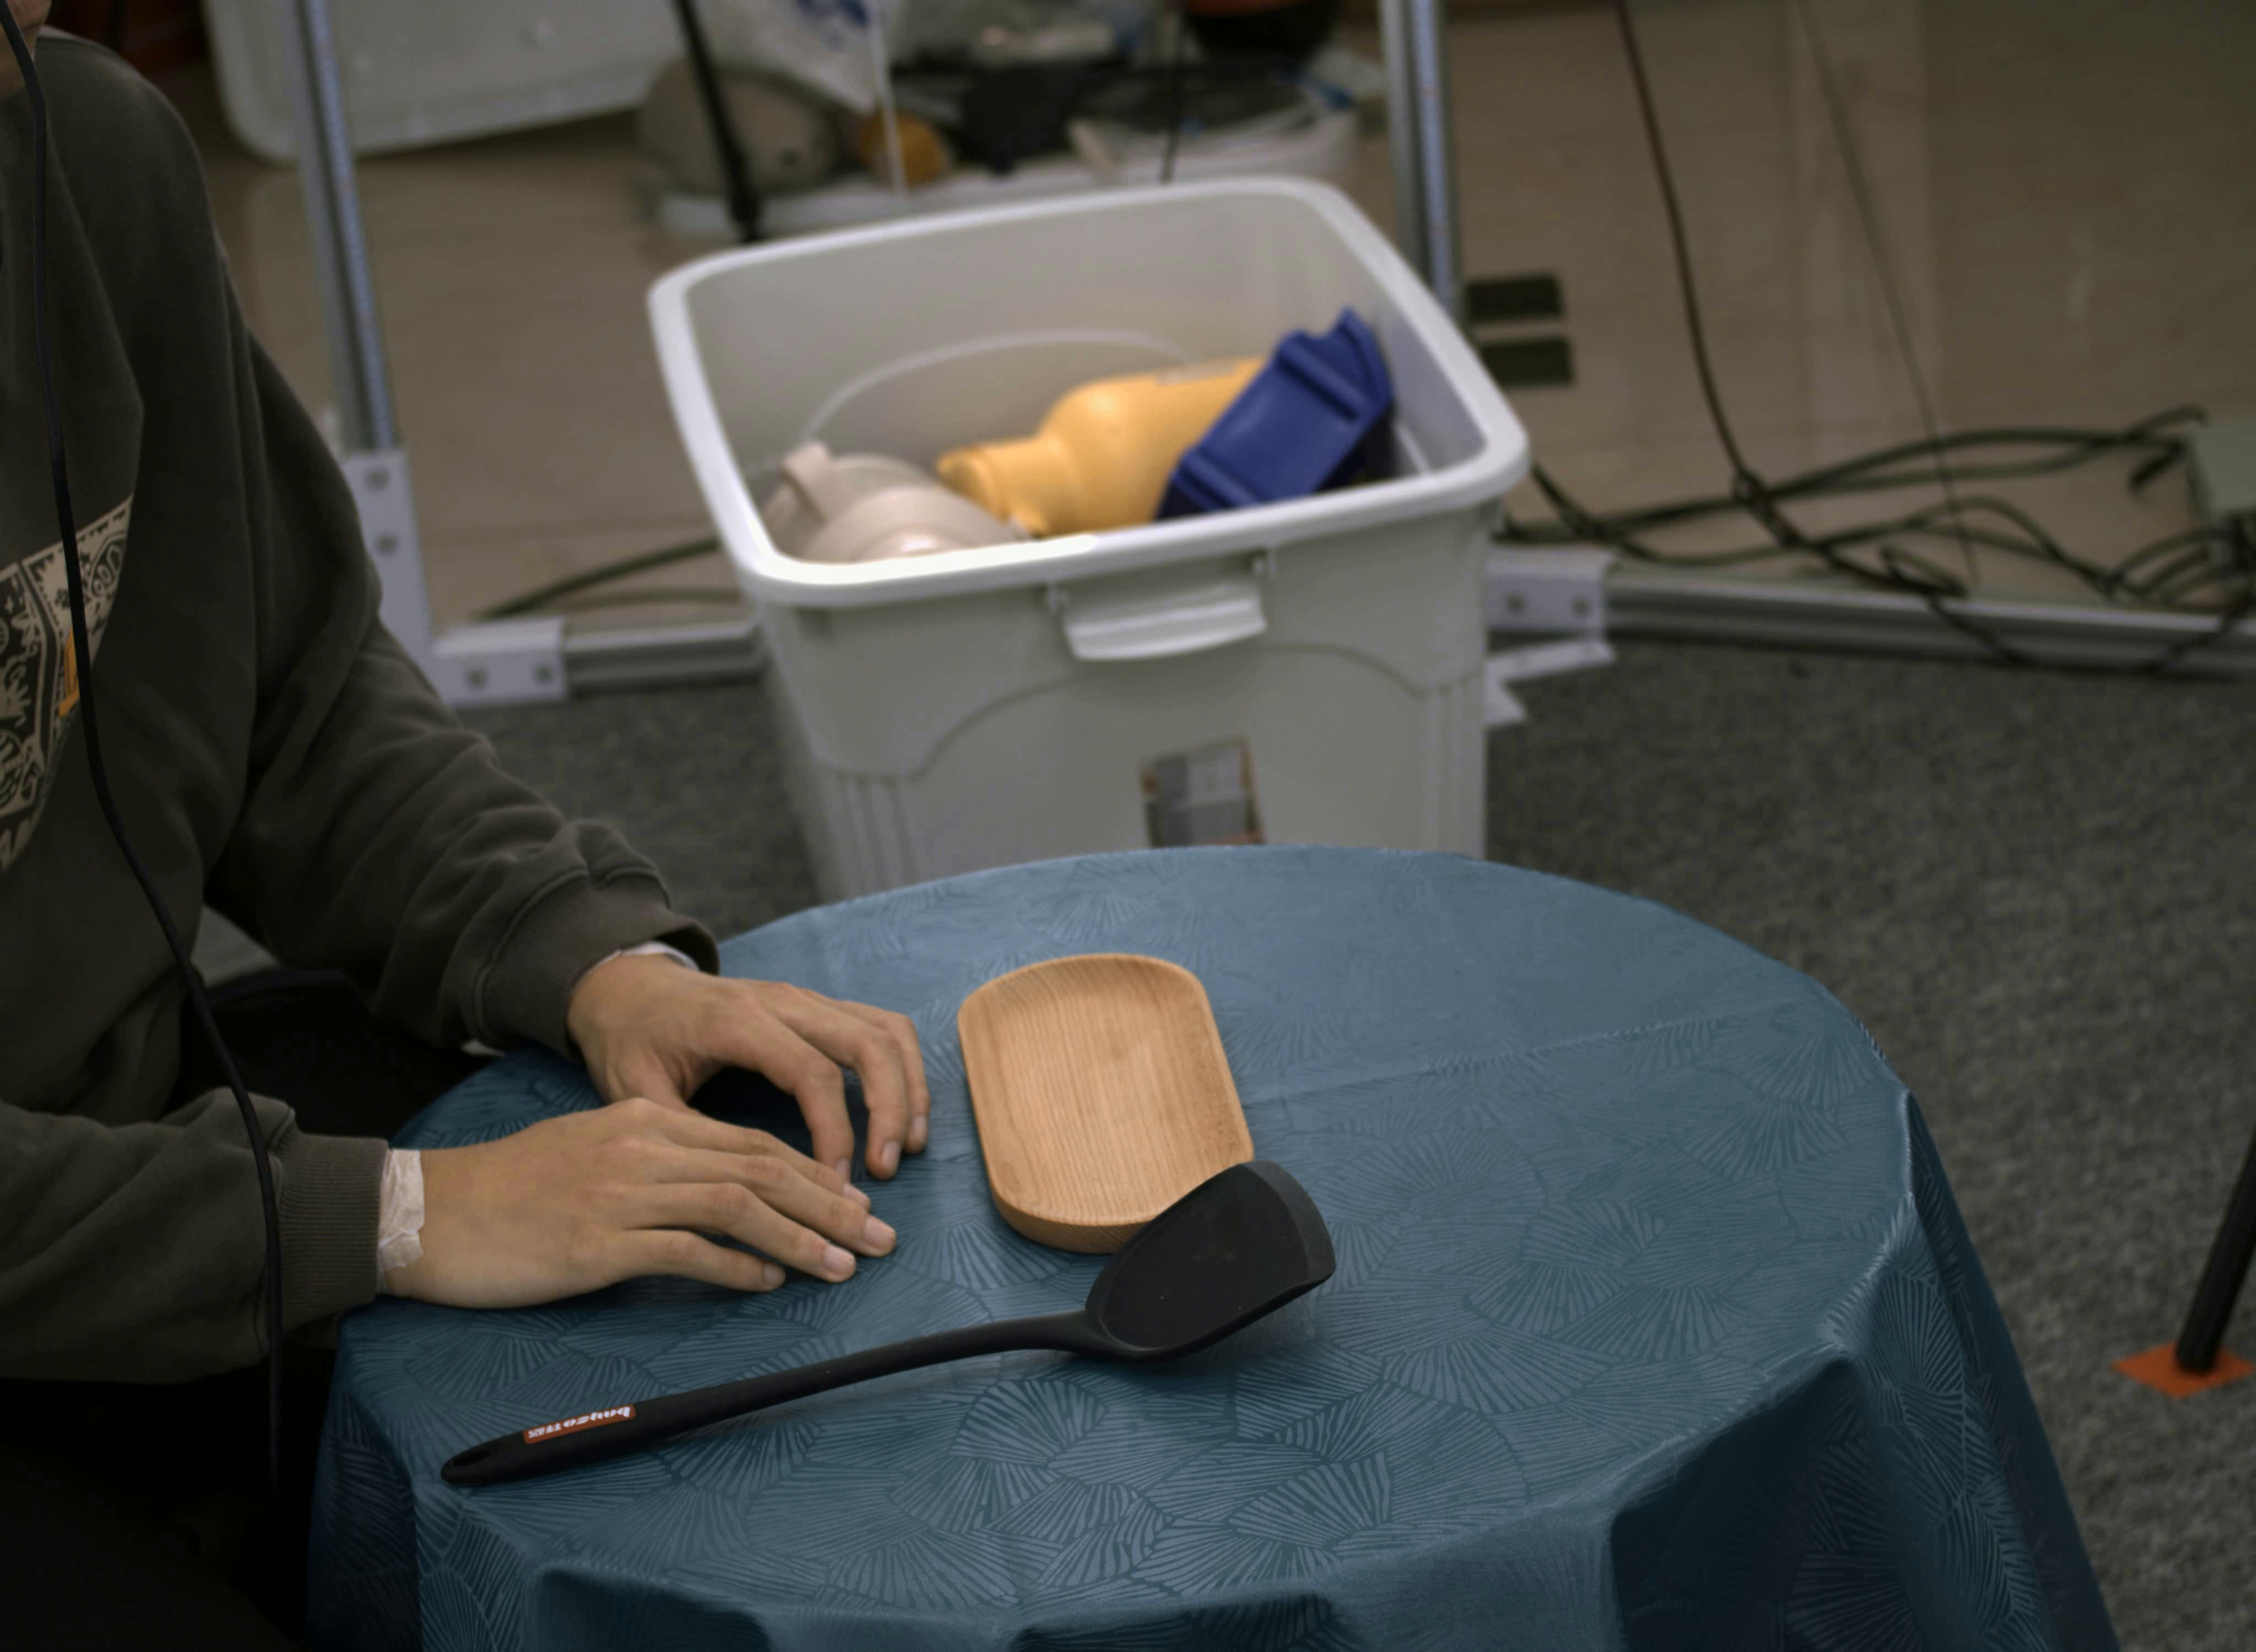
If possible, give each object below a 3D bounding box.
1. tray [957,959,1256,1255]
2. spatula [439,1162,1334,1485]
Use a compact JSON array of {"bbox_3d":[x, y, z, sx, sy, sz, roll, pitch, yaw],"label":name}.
[{"bbox_3d":[-0.009,0.107,2.199,0.101,0.020,0.228,-9,26,-4],"label":"tray"},{"bbox_3d":[-0.088,0.186,2.025,0.325,0.041,0.098,-11,24,-9],"label":"spatula"}]
